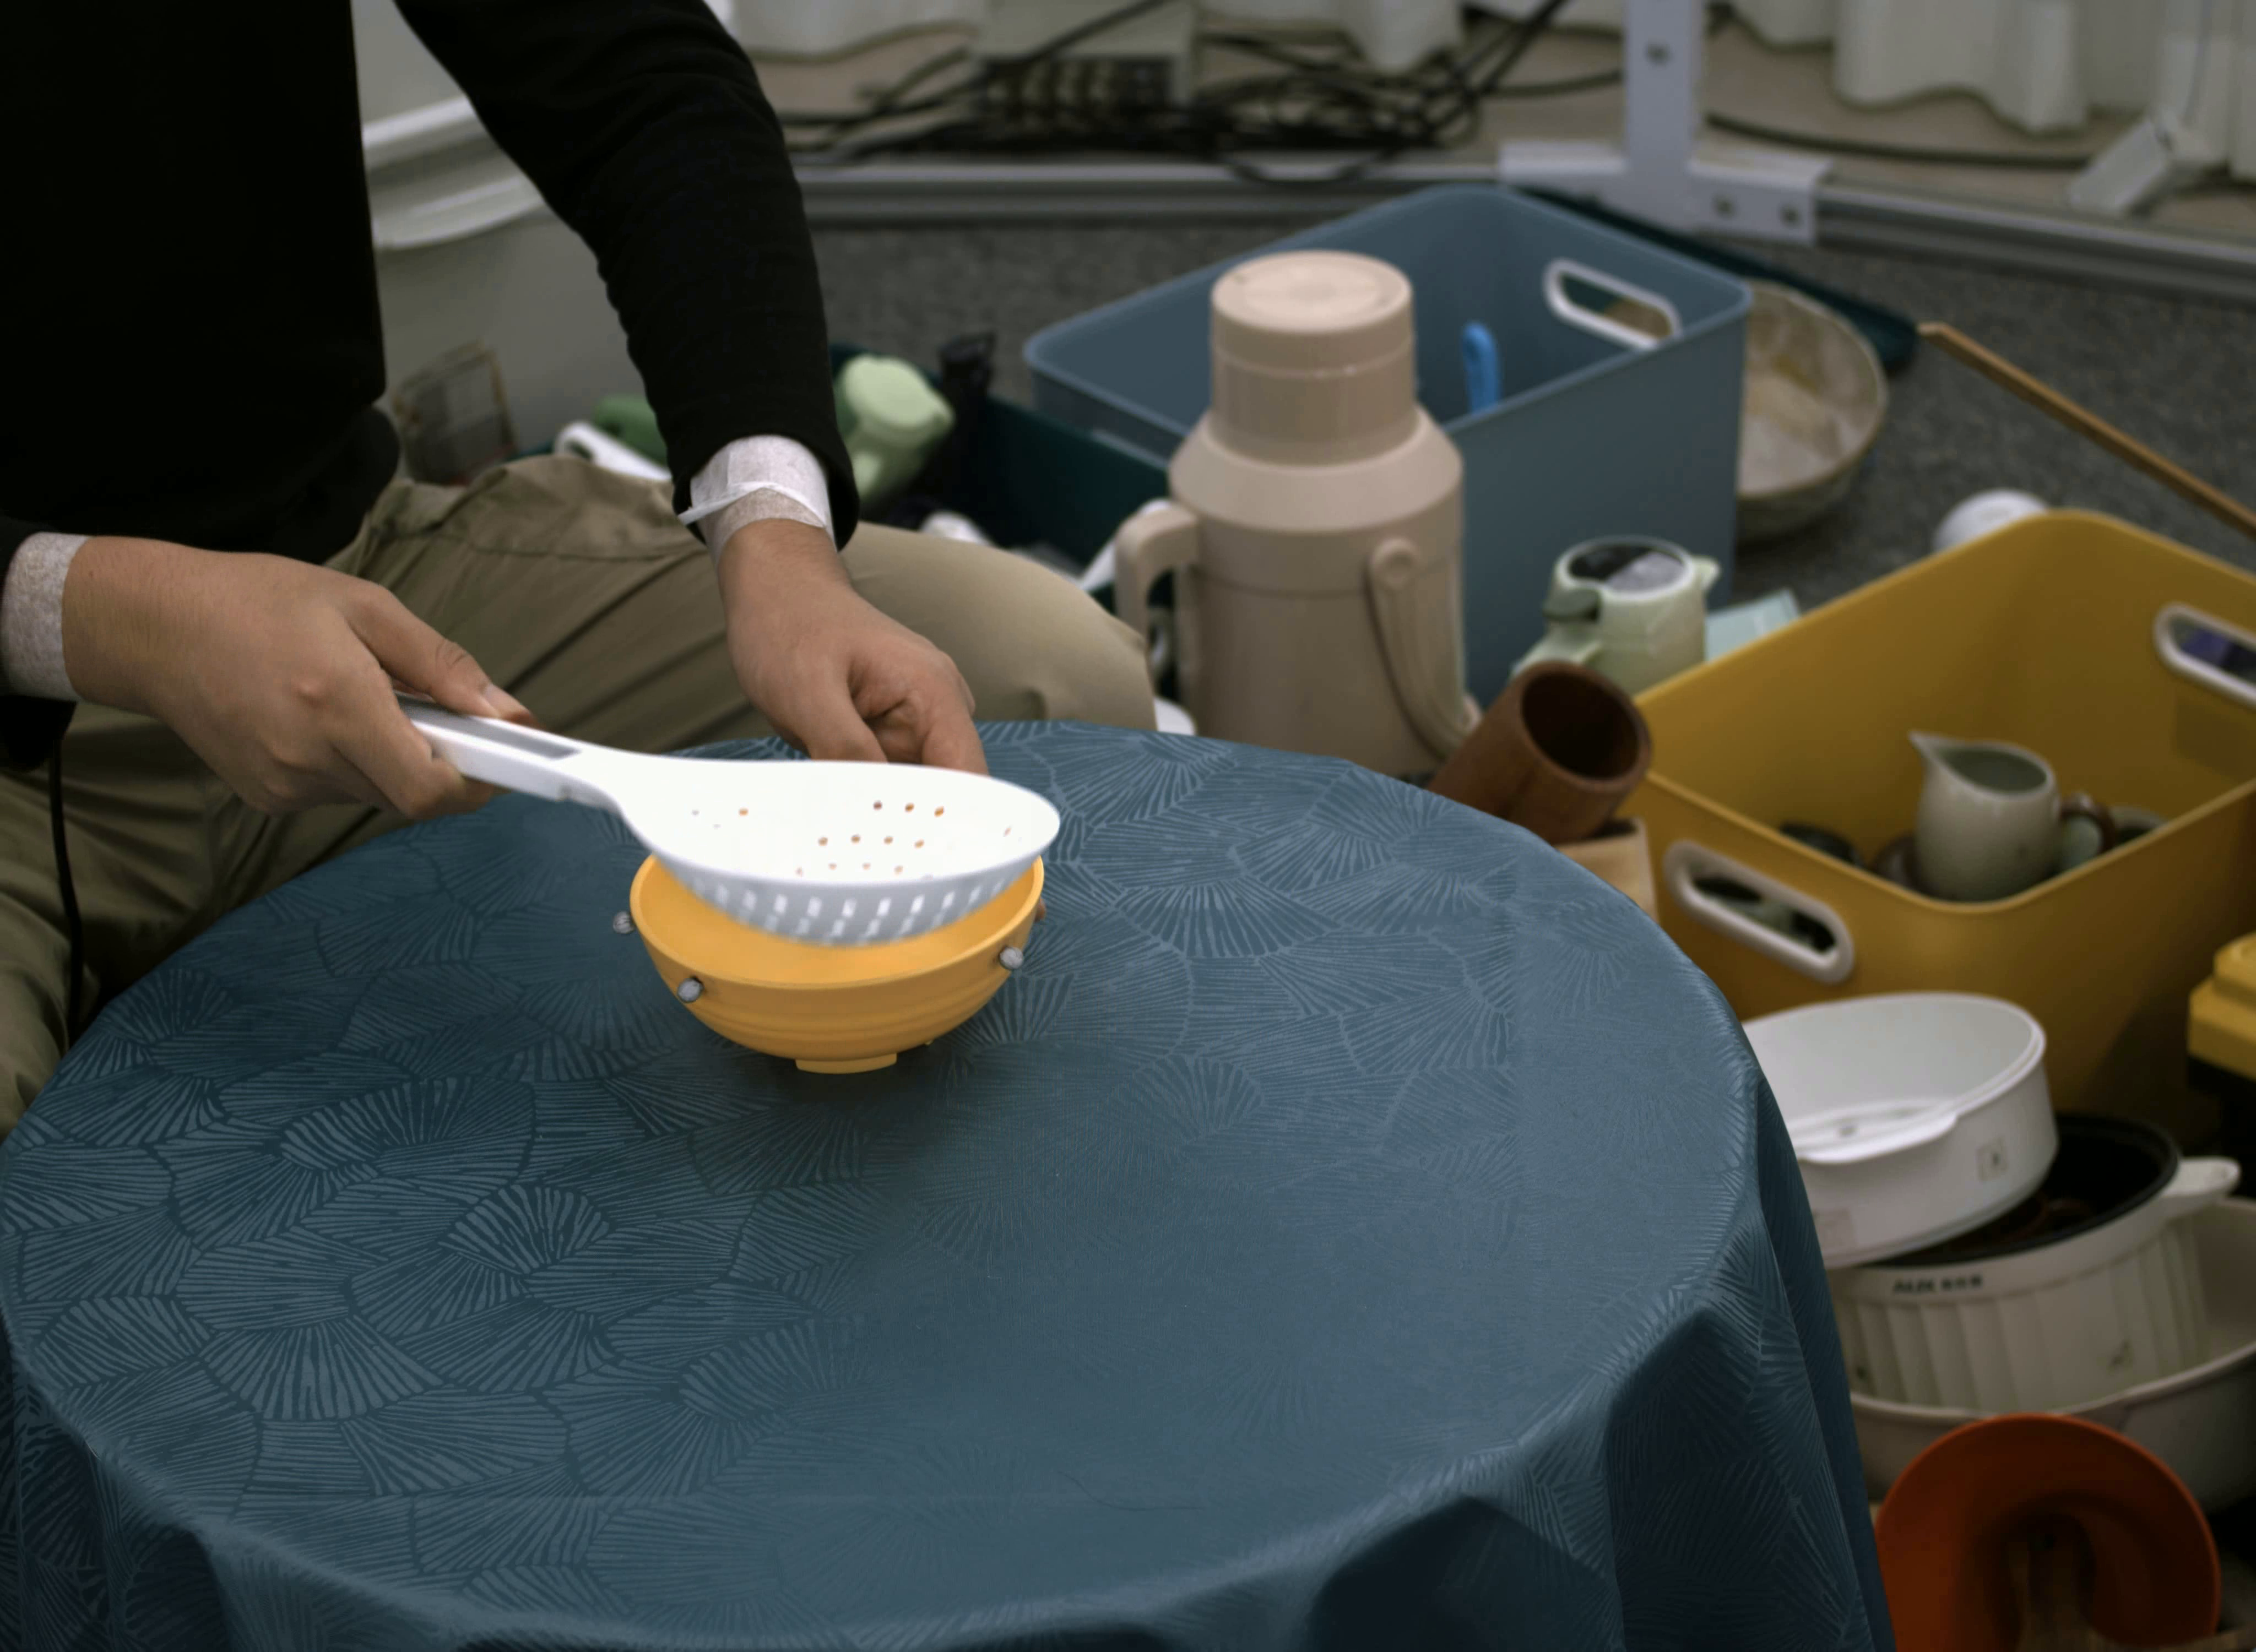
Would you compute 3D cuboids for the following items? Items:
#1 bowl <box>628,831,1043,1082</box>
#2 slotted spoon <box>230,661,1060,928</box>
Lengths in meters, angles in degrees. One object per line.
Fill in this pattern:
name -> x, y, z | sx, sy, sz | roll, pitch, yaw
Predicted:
bowl -> -0.101, 0.047, 1.958 | 0.144, 0.059, 0.147 | 0, 27, 0
slotted spoon -> -0.174, -0.019, 1.885 | 0.348, 0.045, 0.137 | 18, 21, 35
